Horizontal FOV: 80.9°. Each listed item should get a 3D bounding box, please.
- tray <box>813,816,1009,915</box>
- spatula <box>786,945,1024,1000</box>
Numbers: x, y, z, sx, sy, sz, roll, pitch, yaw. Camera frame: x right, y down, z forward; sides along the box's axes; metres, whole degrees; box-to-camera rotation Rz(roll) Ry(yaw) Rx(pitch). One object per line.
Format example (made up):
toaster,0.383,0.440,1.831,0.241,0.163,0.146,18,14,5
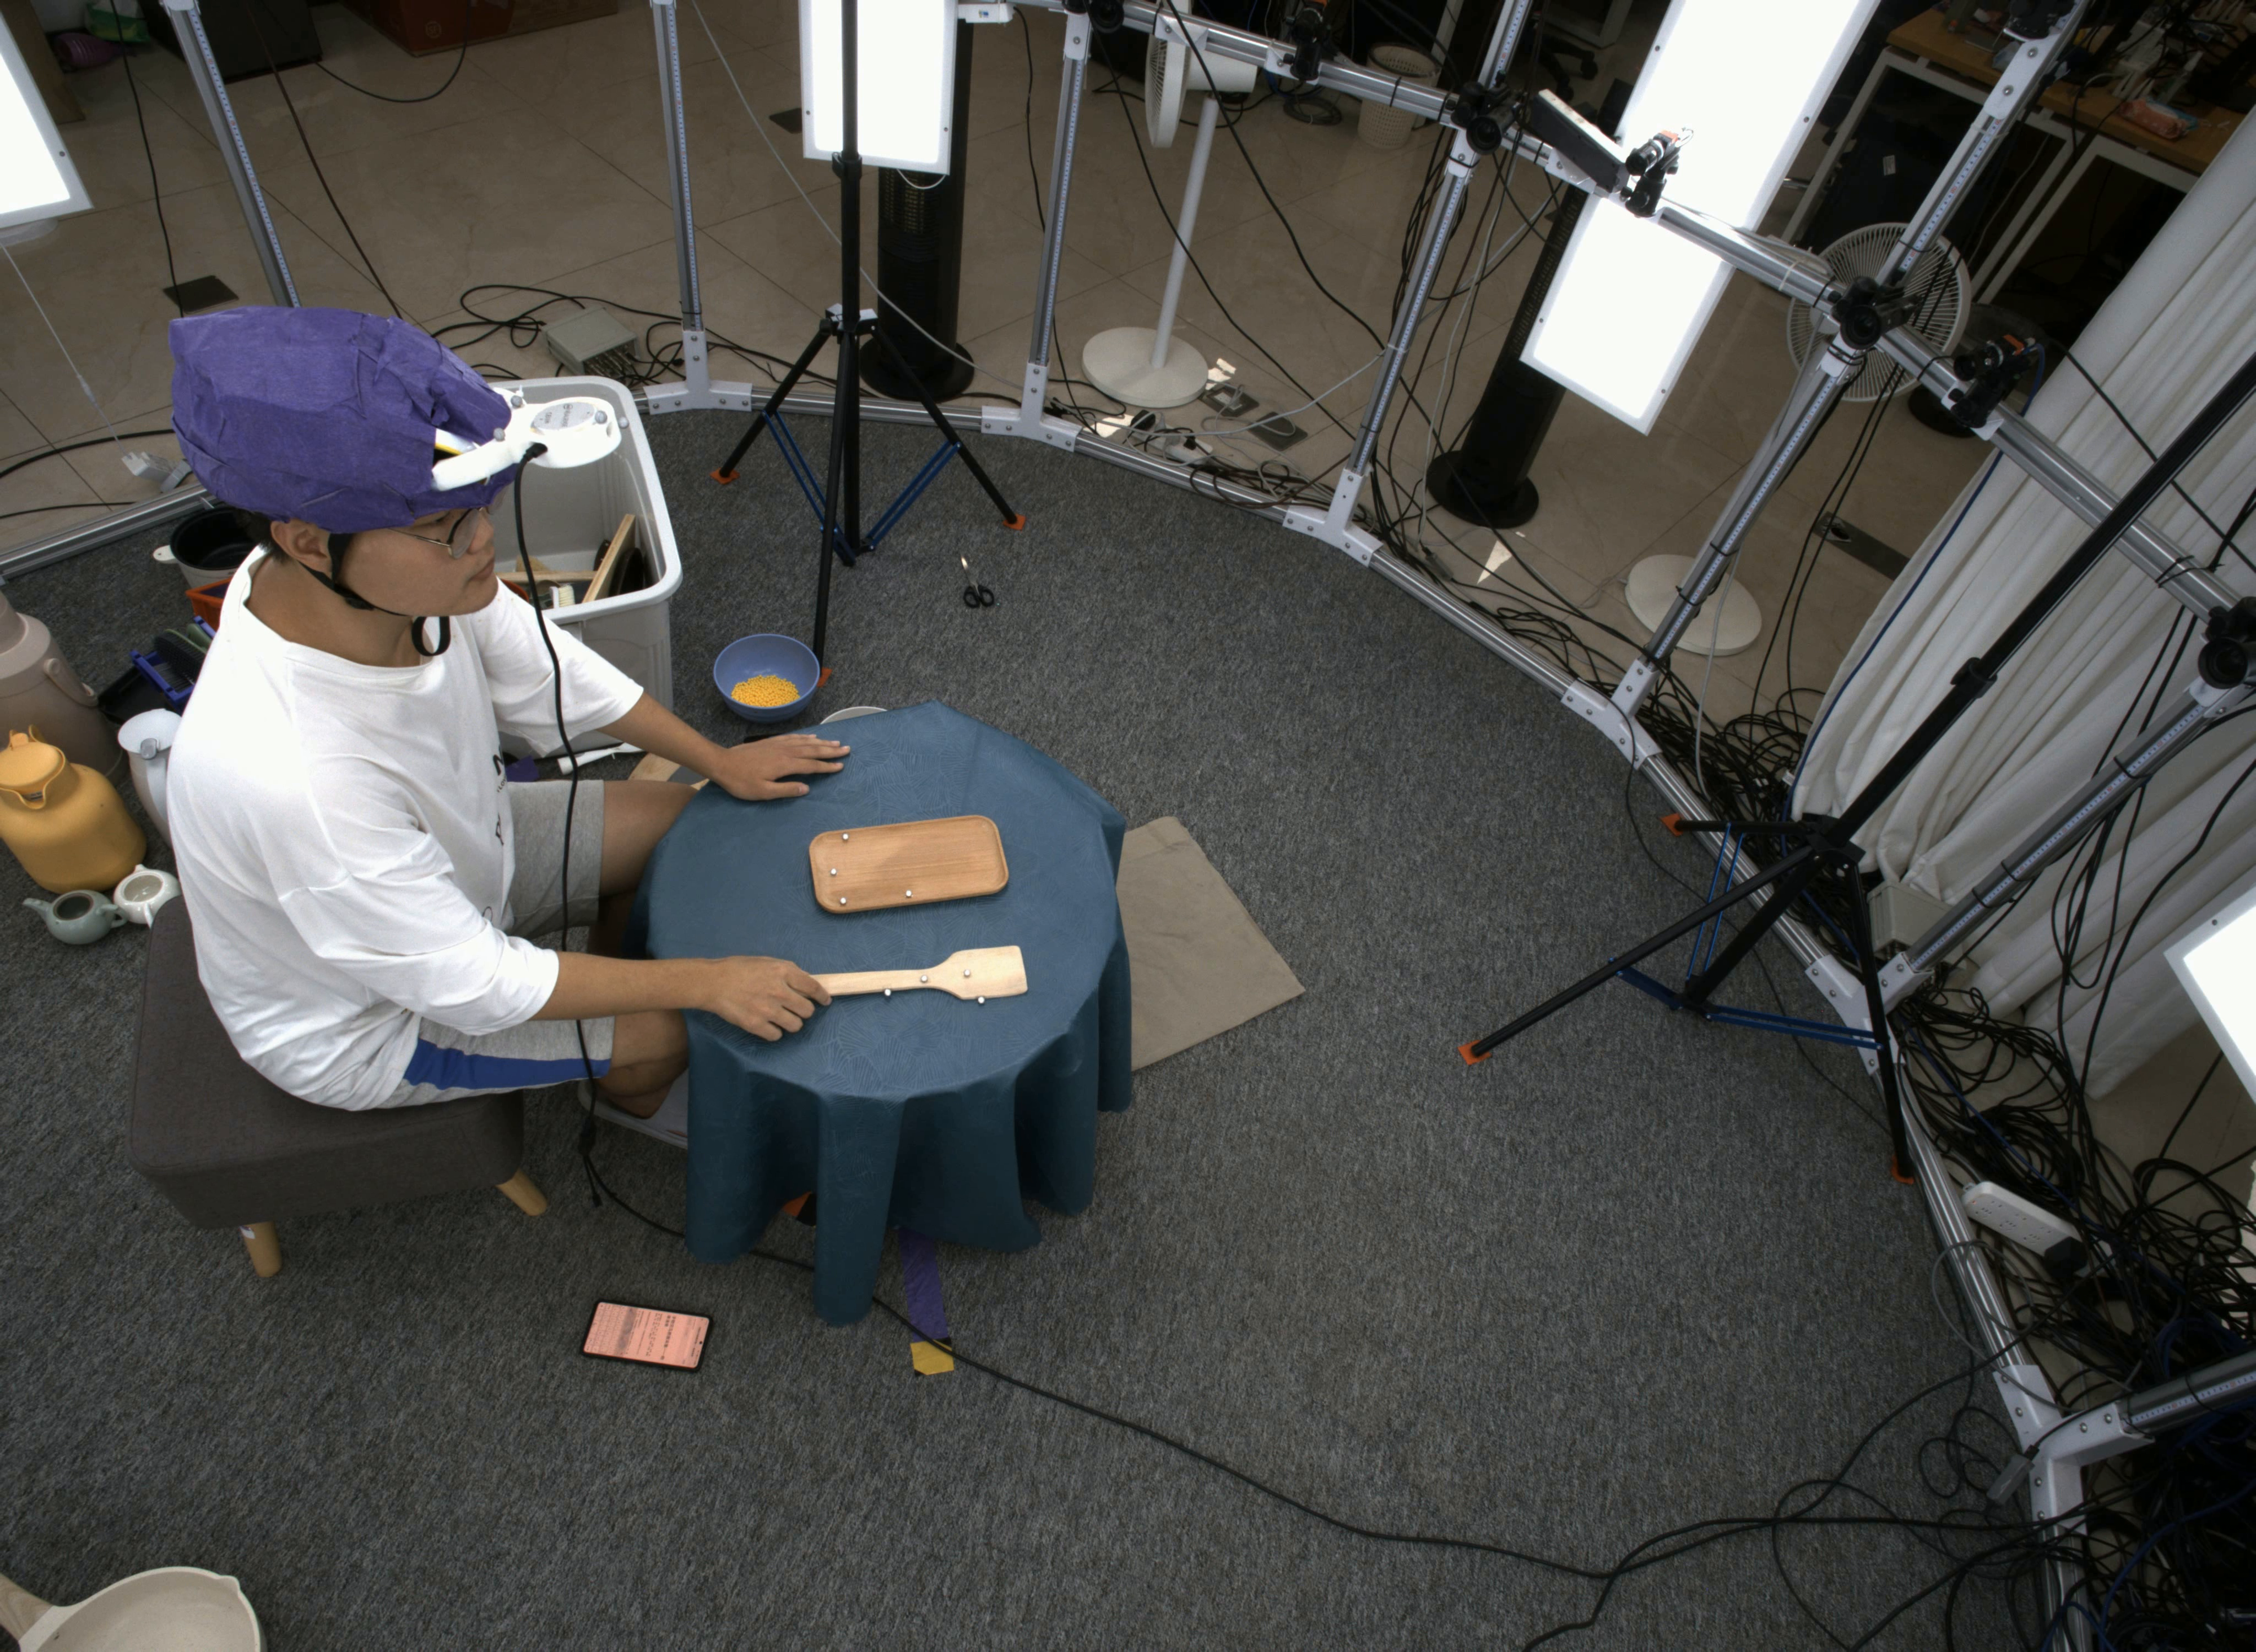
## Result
tray,-0.286,0.051,1.720,0.251,0.023,0.128,-5,58,-17
spatula,-0.276,0.189,1.619,0.294,0.011,0.070,-3,55,-19
